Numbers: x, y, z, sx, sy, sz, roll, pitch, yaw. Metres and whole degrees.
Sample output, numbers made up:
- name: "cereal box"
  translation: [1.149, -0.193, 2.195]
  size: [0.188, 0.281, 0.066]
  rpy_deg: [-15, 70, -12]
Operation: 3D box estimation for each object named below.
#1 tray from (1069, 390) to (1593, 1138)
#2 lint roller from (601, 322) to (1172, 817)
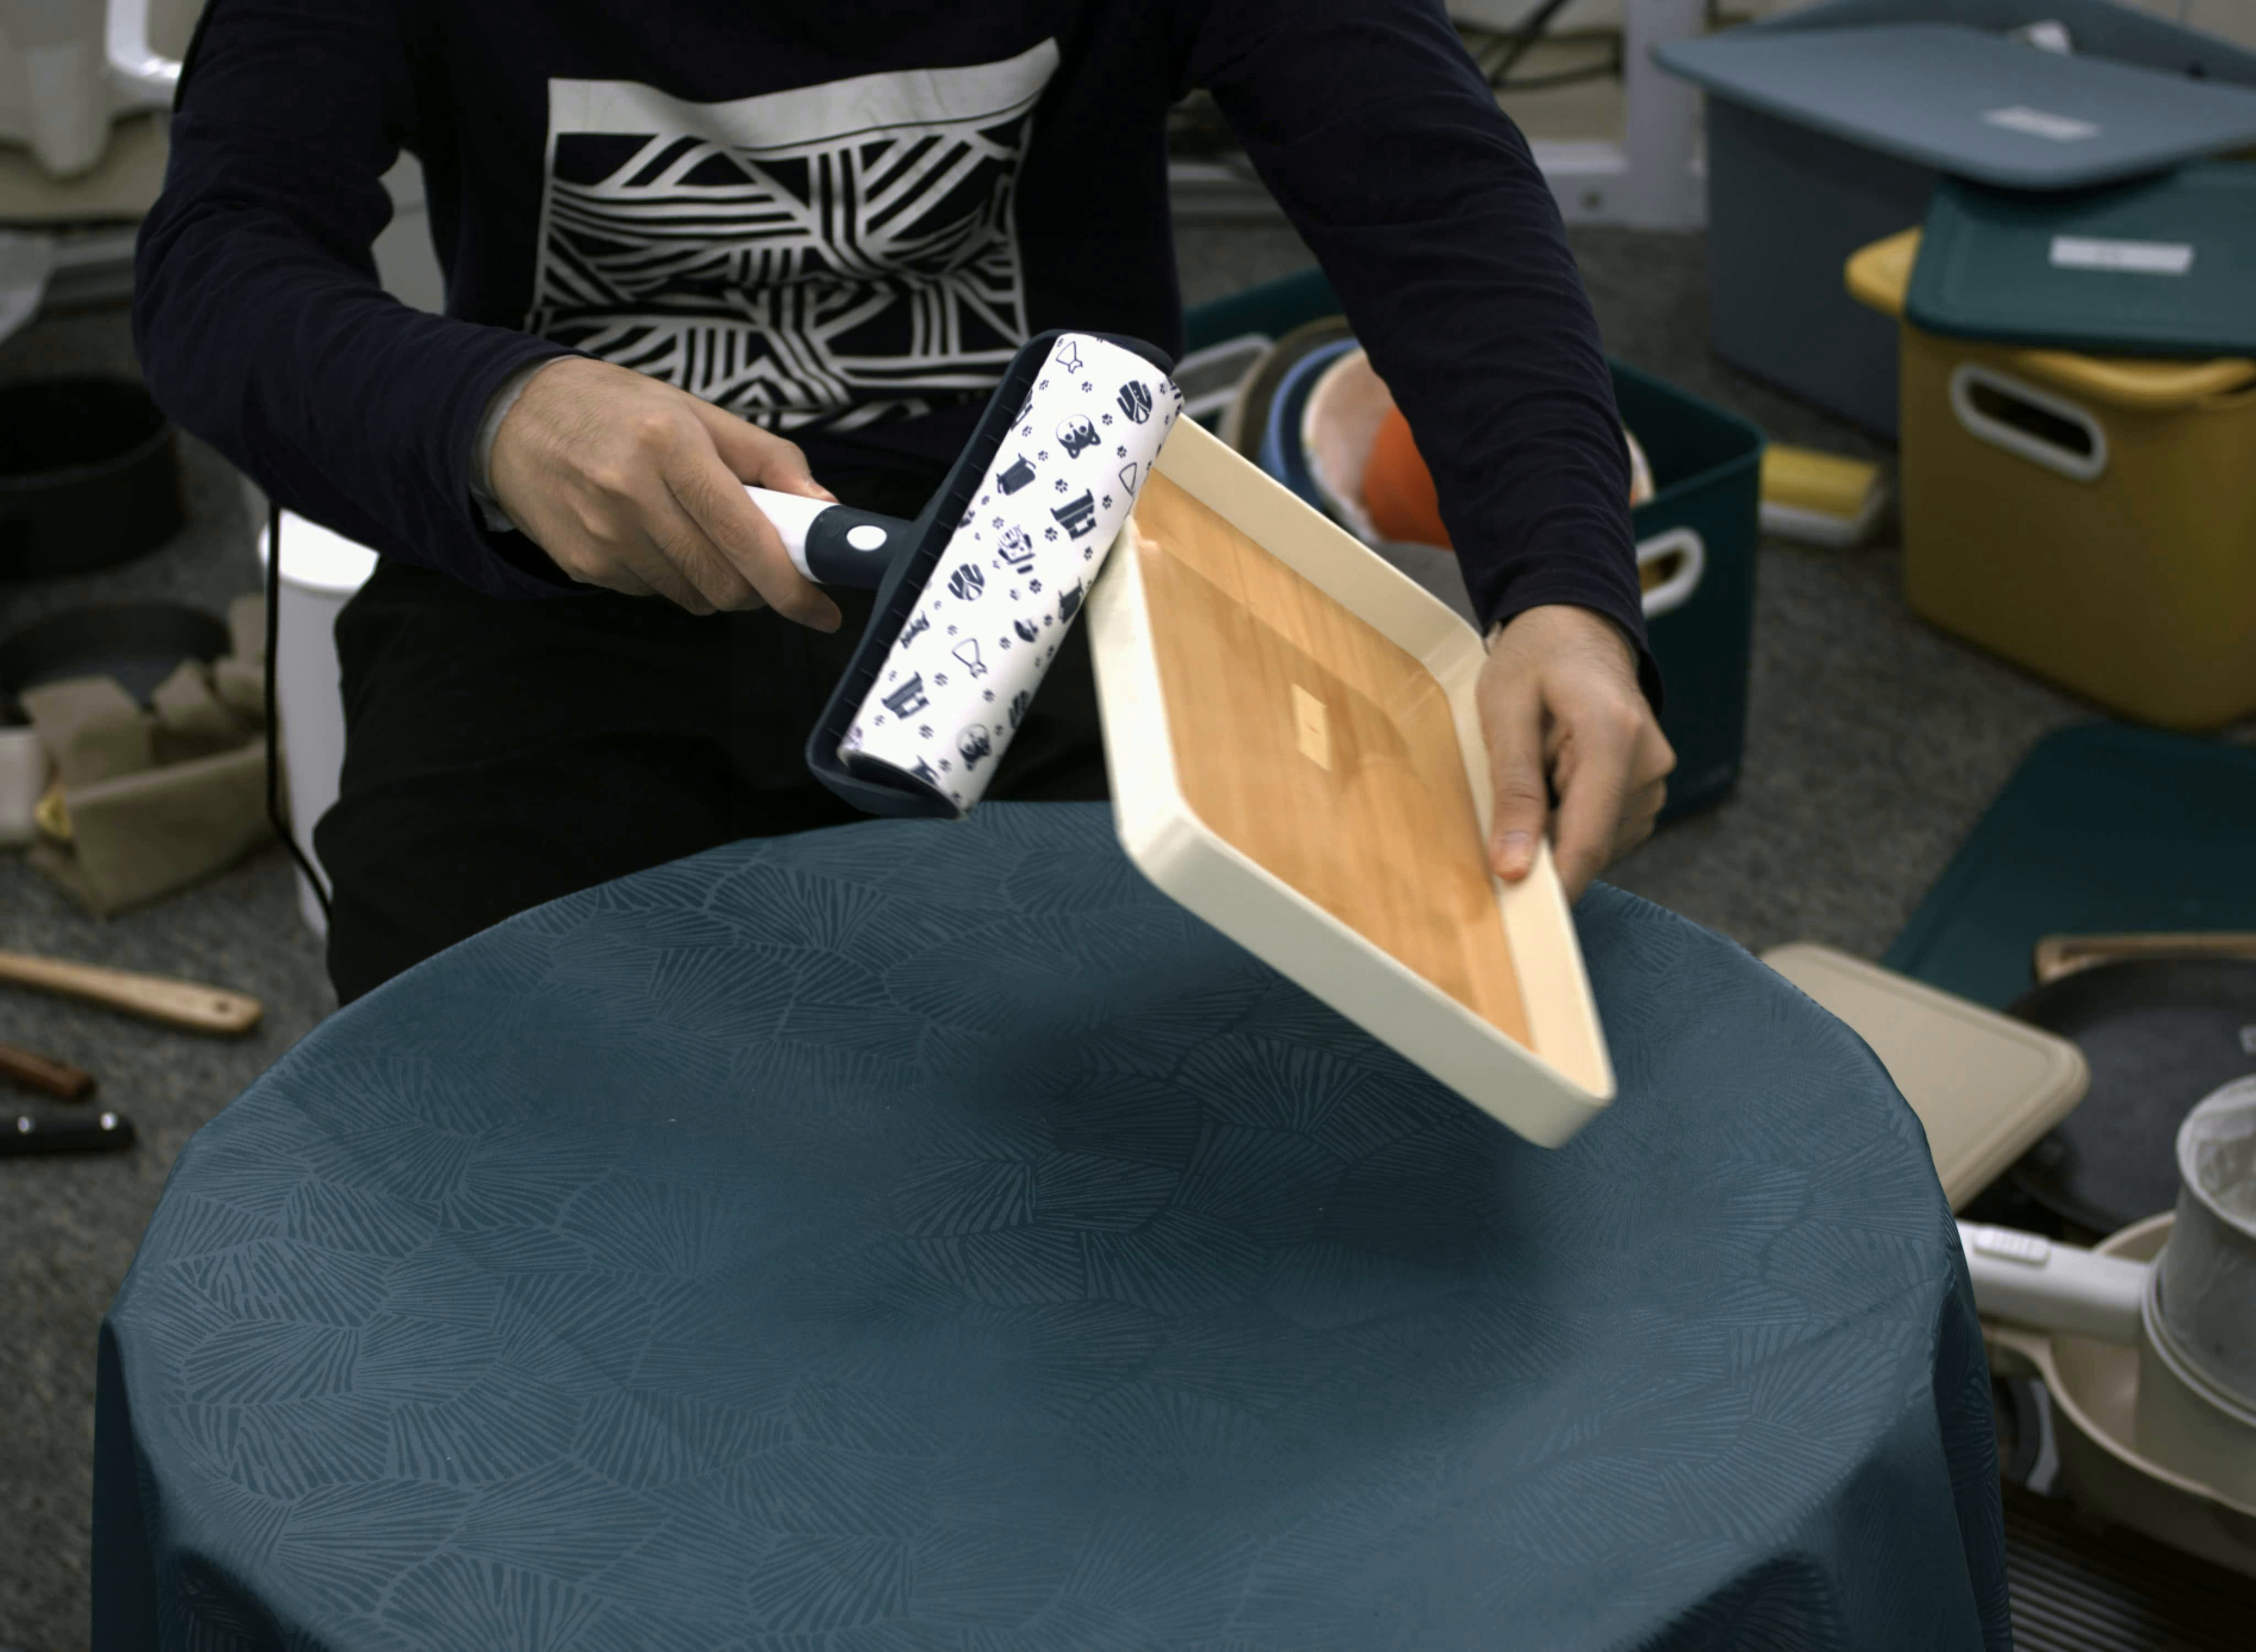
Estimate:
- name: "tray"
  translation: [0.060, -0.031, 1.867]
  size: [0.191, 0.027, 0.305]
  rpy_deg: [35, 23, -22]
- name: "lint roller"
  translation: [-0.106, -0.096, 1.902]
  size: [0.245, 0.050, 0.178]
  rpy_deg: [10, 67, 47]
